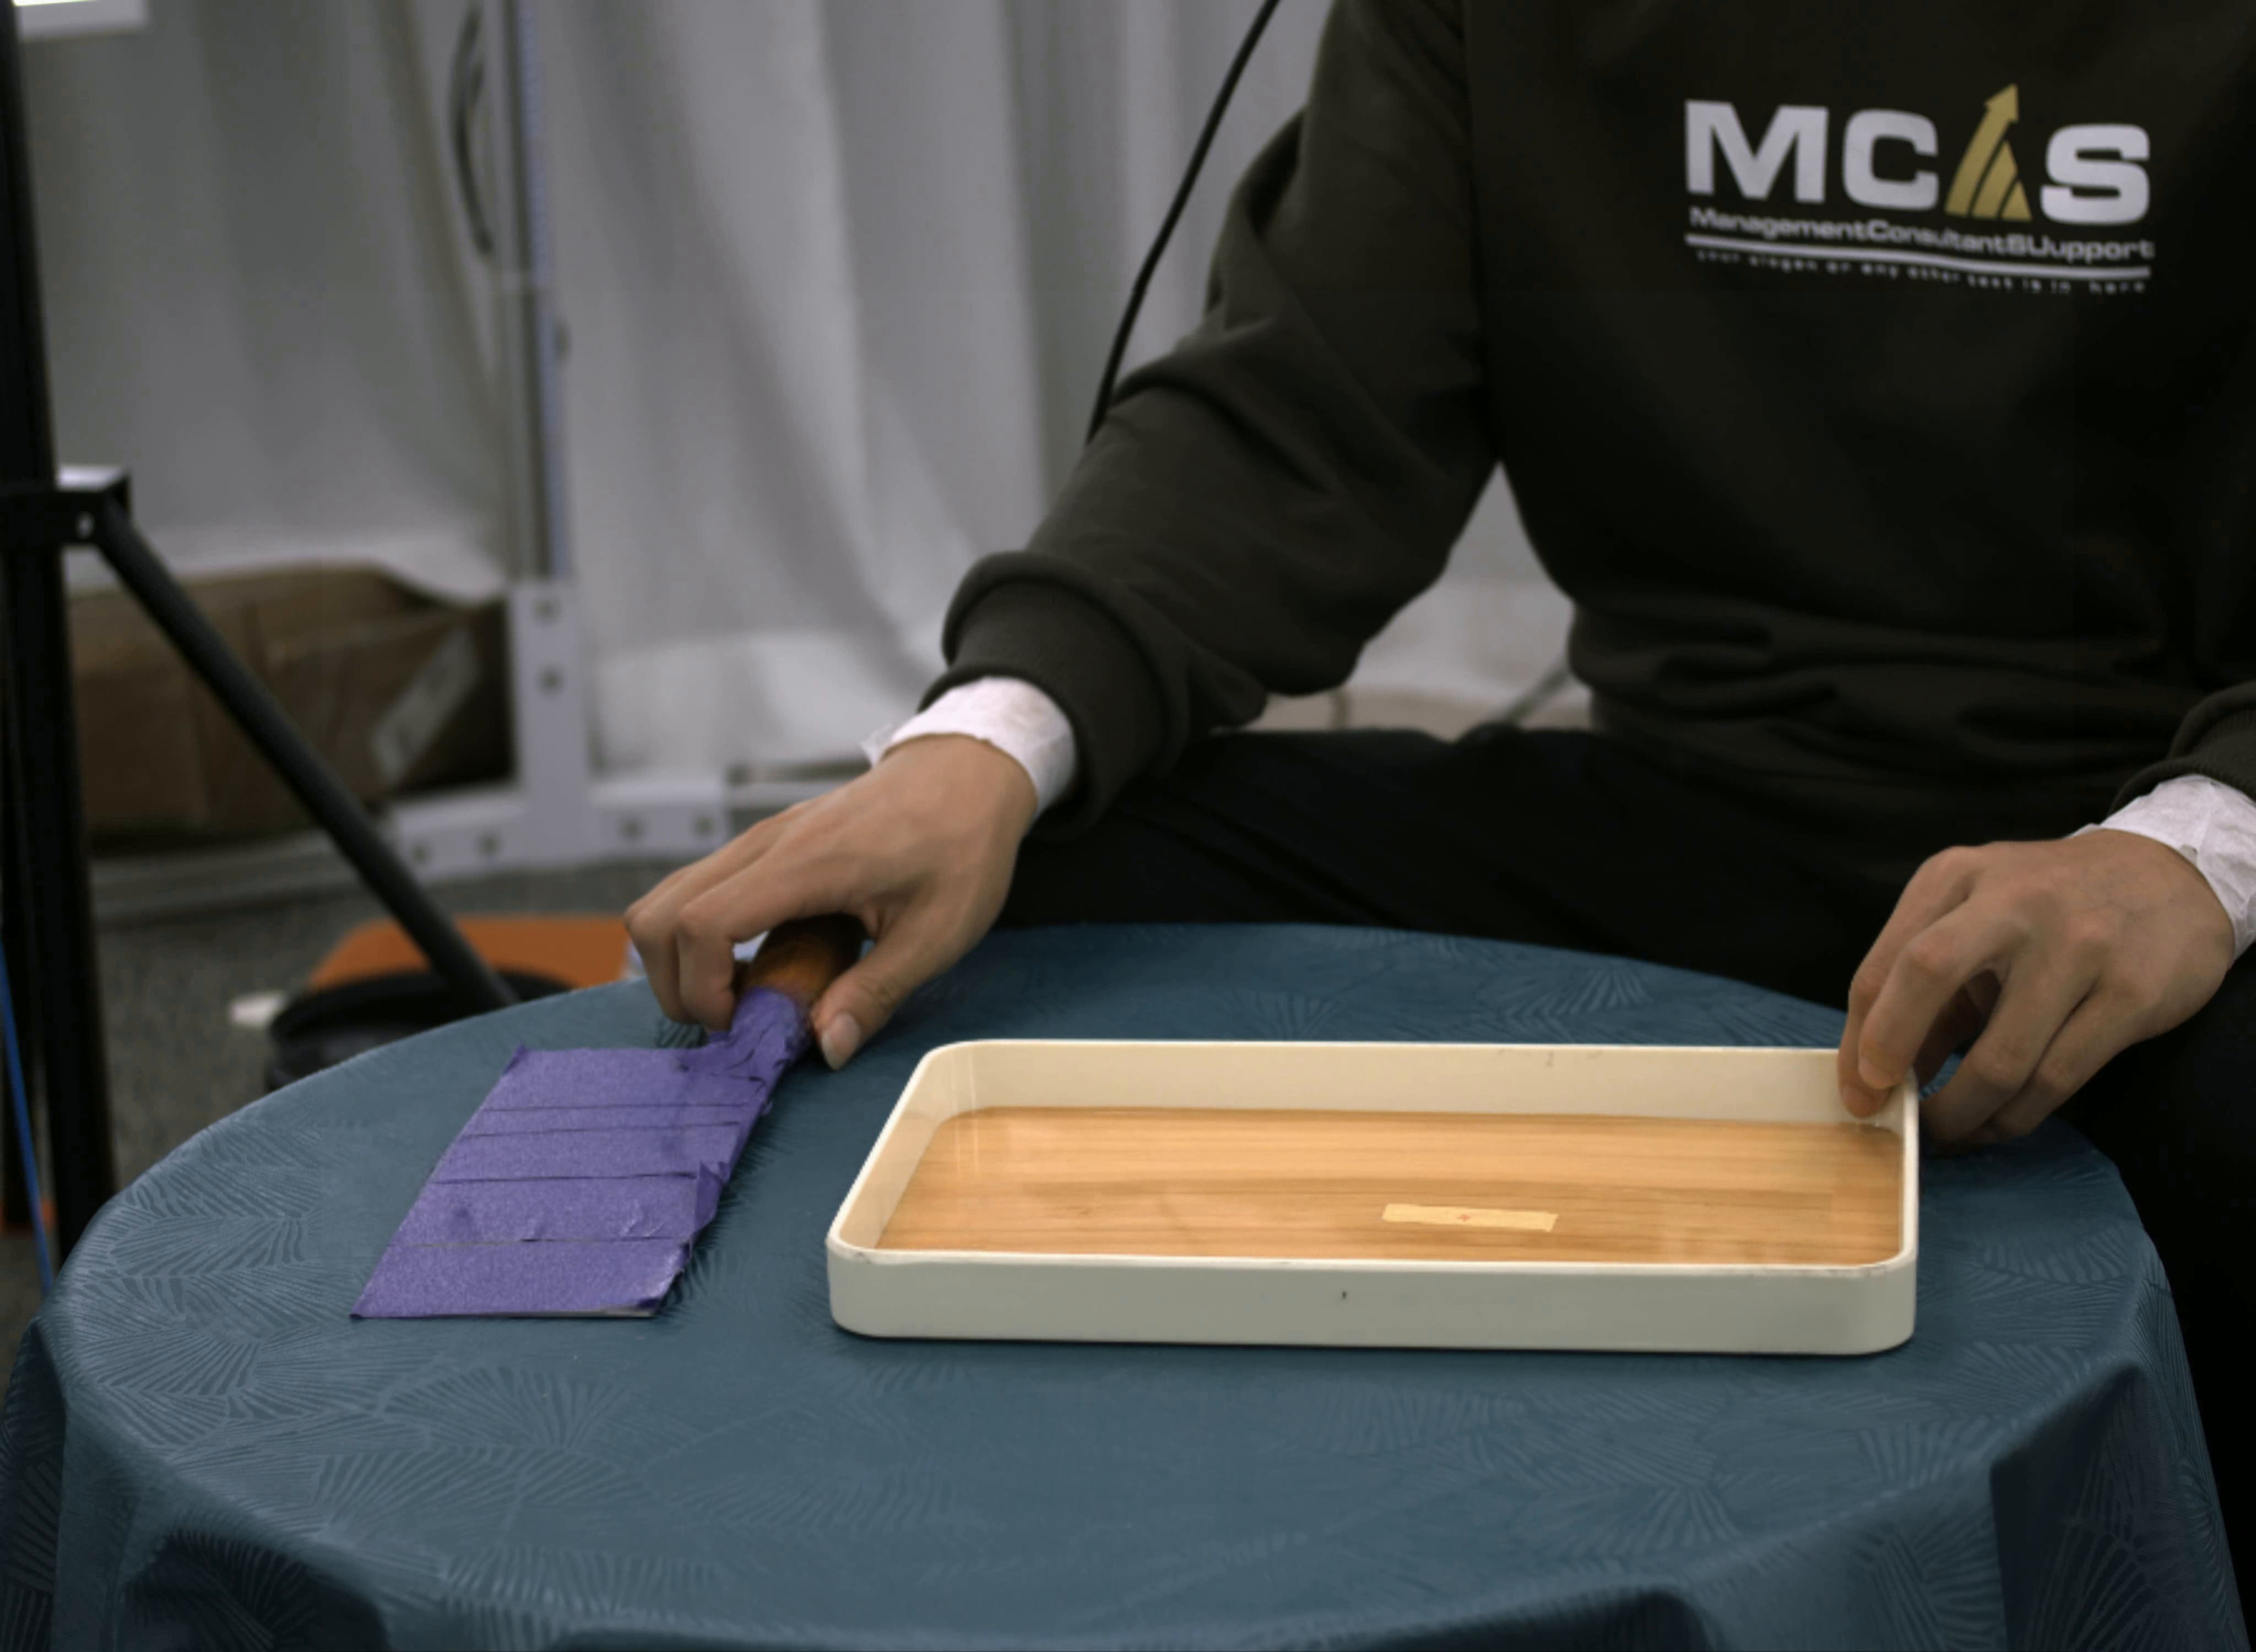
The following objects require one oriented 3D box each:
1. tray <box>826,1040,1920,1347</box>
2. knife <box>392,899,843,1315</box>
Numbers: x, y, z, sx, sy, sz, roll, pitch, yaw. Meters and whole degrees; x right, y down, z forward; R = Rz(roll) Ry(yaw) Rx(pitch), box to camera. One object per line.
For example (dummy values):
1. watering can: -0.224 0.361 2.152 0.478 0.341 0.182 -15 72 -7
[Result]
1. tray: 0.075 0.104 1.515 0.301 0.027 0.191 0 16 10
2. knife: -0.153 0.082 1.626 0.104 0.032 0.315 -1 16 7
